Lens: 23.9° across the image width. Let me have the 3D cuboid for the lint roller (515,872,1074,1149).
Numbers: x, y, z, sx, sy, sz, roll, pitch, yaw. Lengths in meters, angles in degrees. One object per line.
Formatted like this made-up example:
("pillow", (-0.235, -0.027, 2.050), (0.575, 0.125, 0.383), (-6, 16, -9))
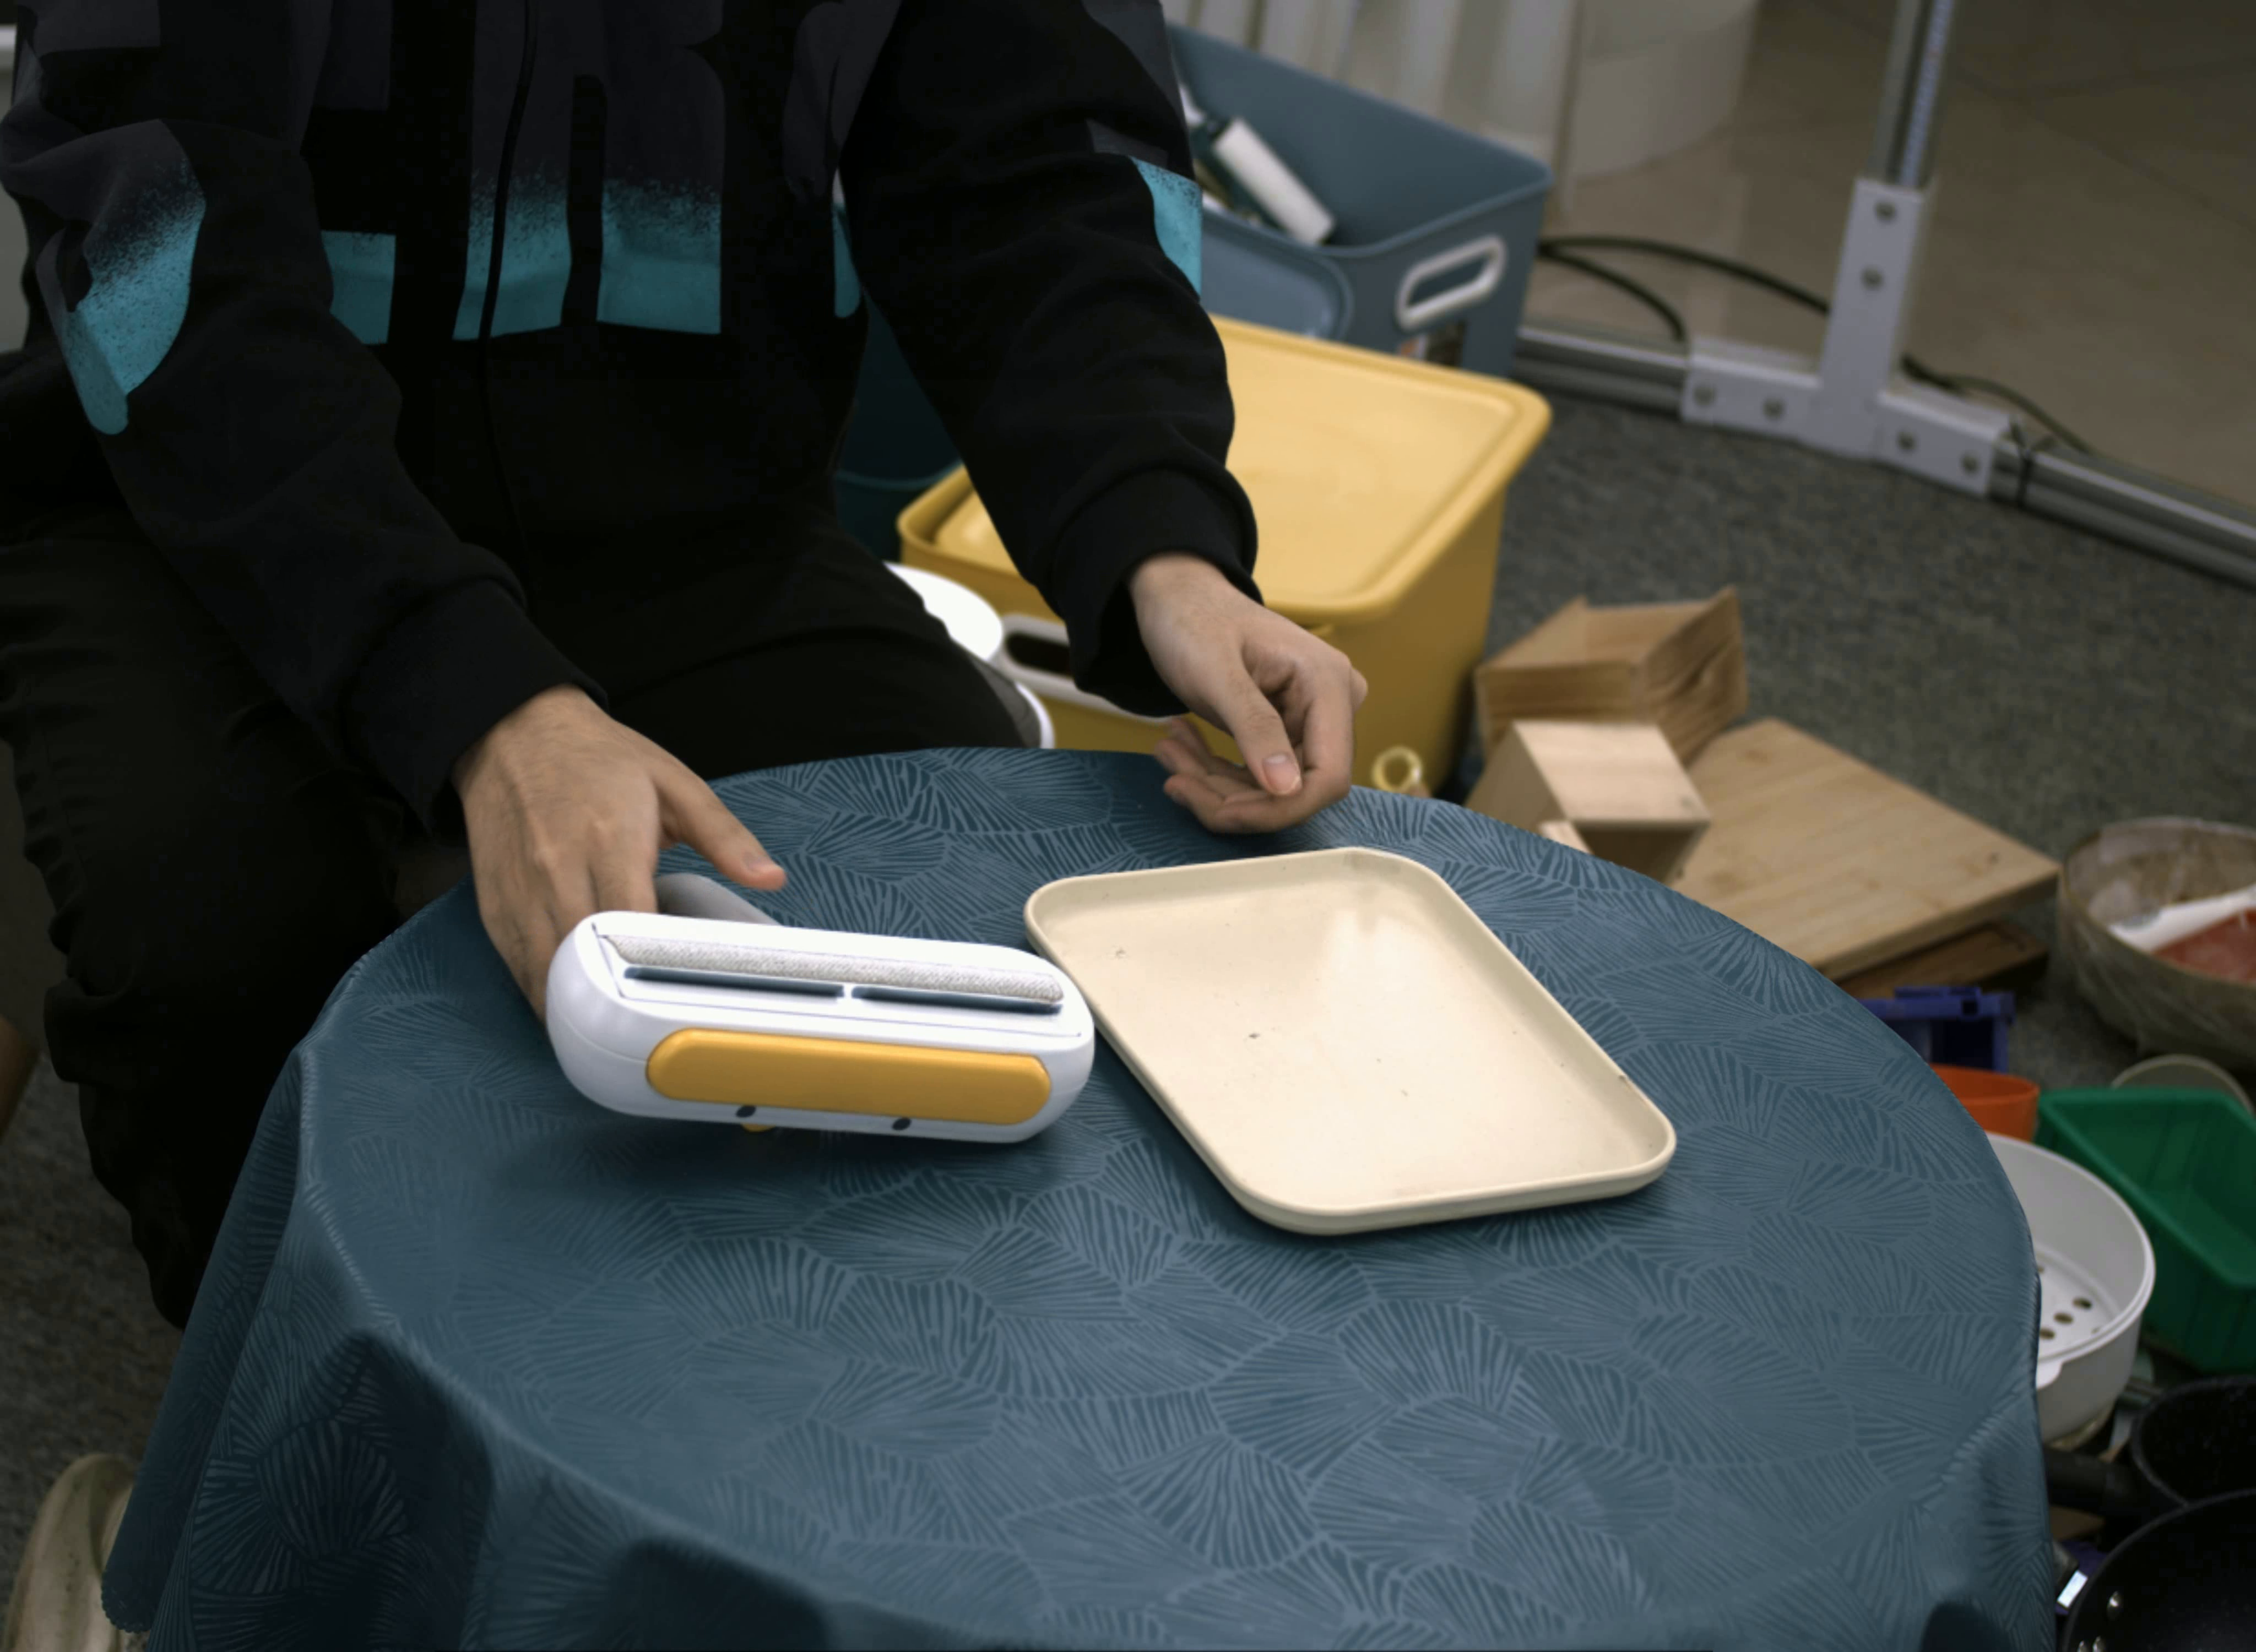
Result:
("lint roller", (-0.130, 0.049, 1.842), (0.191, 0.074, 0.194), (3, 25, -20))

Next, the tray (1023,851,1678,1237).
("tray", (0.075, 0.076, 1.891), (0.170, 0.017, 0.242), (-6, 29, -22))
